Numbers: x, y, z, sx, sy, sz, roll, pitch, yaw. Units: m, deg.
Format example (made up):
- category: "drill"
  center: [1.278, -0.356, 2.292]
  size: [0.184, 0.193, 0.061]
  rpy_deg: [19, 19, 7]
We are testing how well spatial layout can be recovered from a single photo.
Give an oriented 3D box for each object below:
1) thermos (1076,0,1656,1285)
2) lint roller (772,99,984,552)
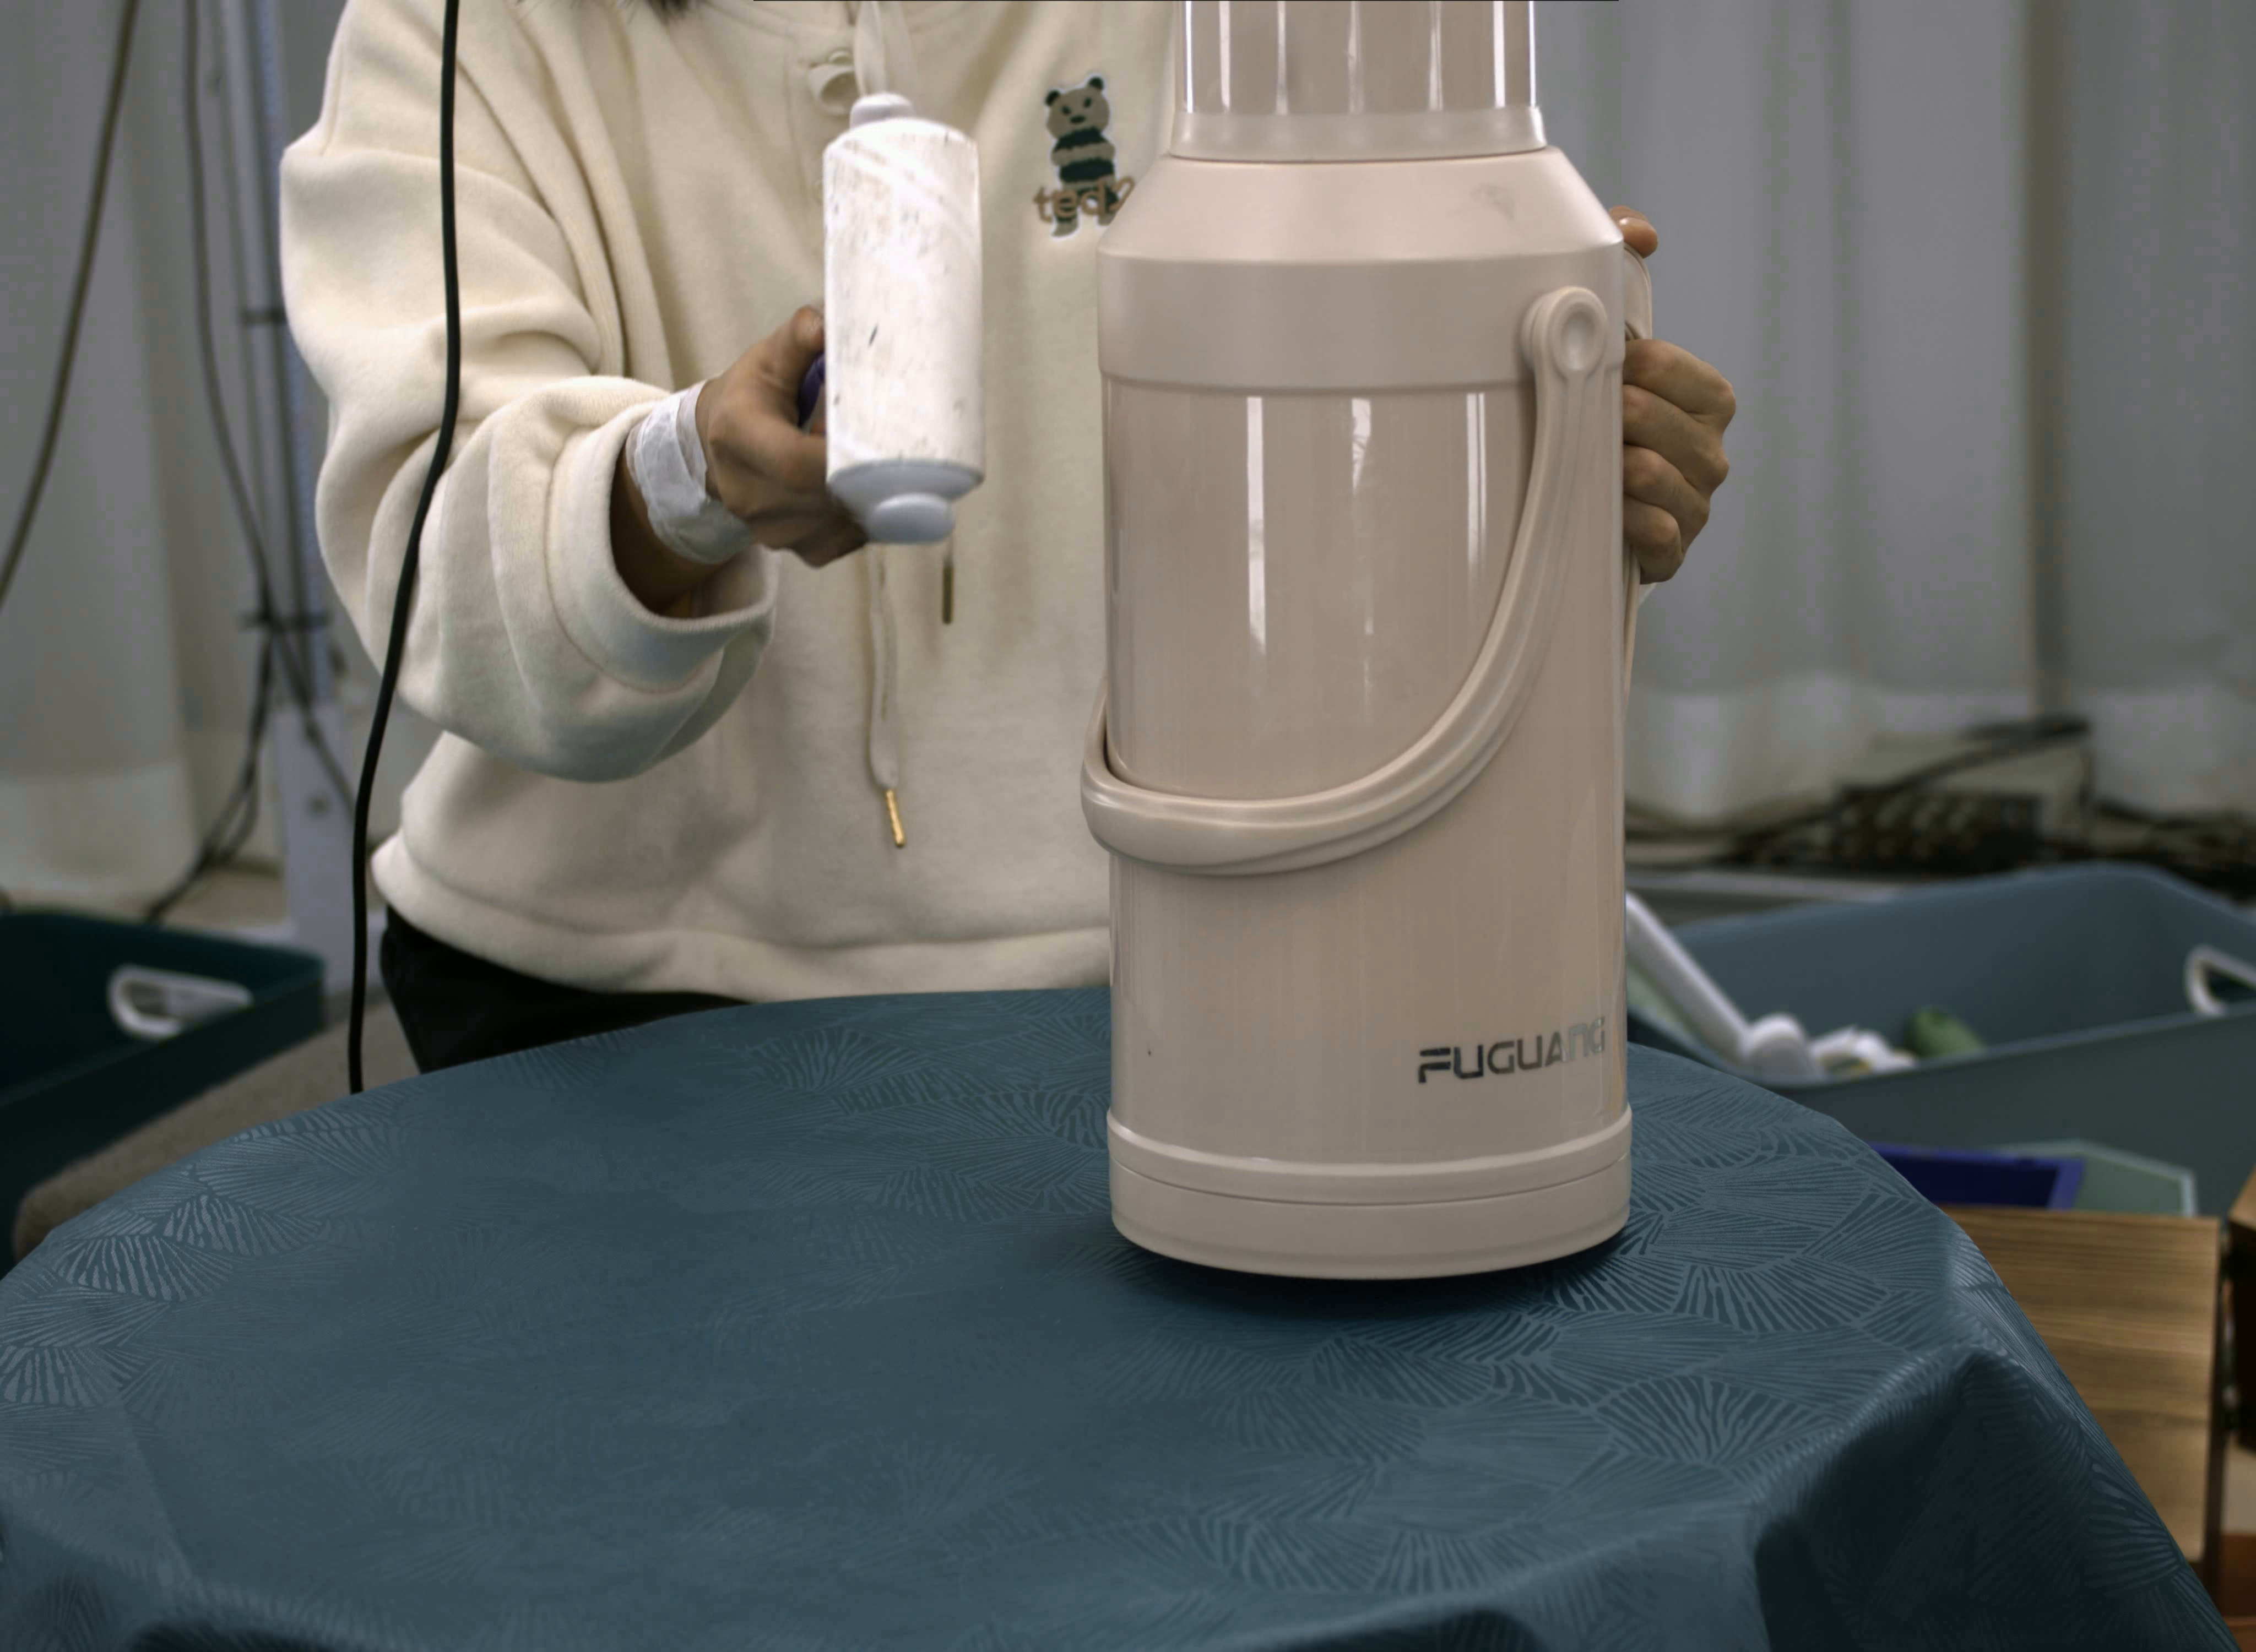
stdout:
- category: "thermos"
  center: [0.081, -0.078, 1.639]
  size: [0.206, 0.406, 0.176]
  rpy_deg: [-8, 11, -42]
- category: "lint roller"
  center: [-0.091, -0.137, 1.651]
  size: [0.050, 0.134, 0.180]
  rpy_deg: [4, -10, -24]
